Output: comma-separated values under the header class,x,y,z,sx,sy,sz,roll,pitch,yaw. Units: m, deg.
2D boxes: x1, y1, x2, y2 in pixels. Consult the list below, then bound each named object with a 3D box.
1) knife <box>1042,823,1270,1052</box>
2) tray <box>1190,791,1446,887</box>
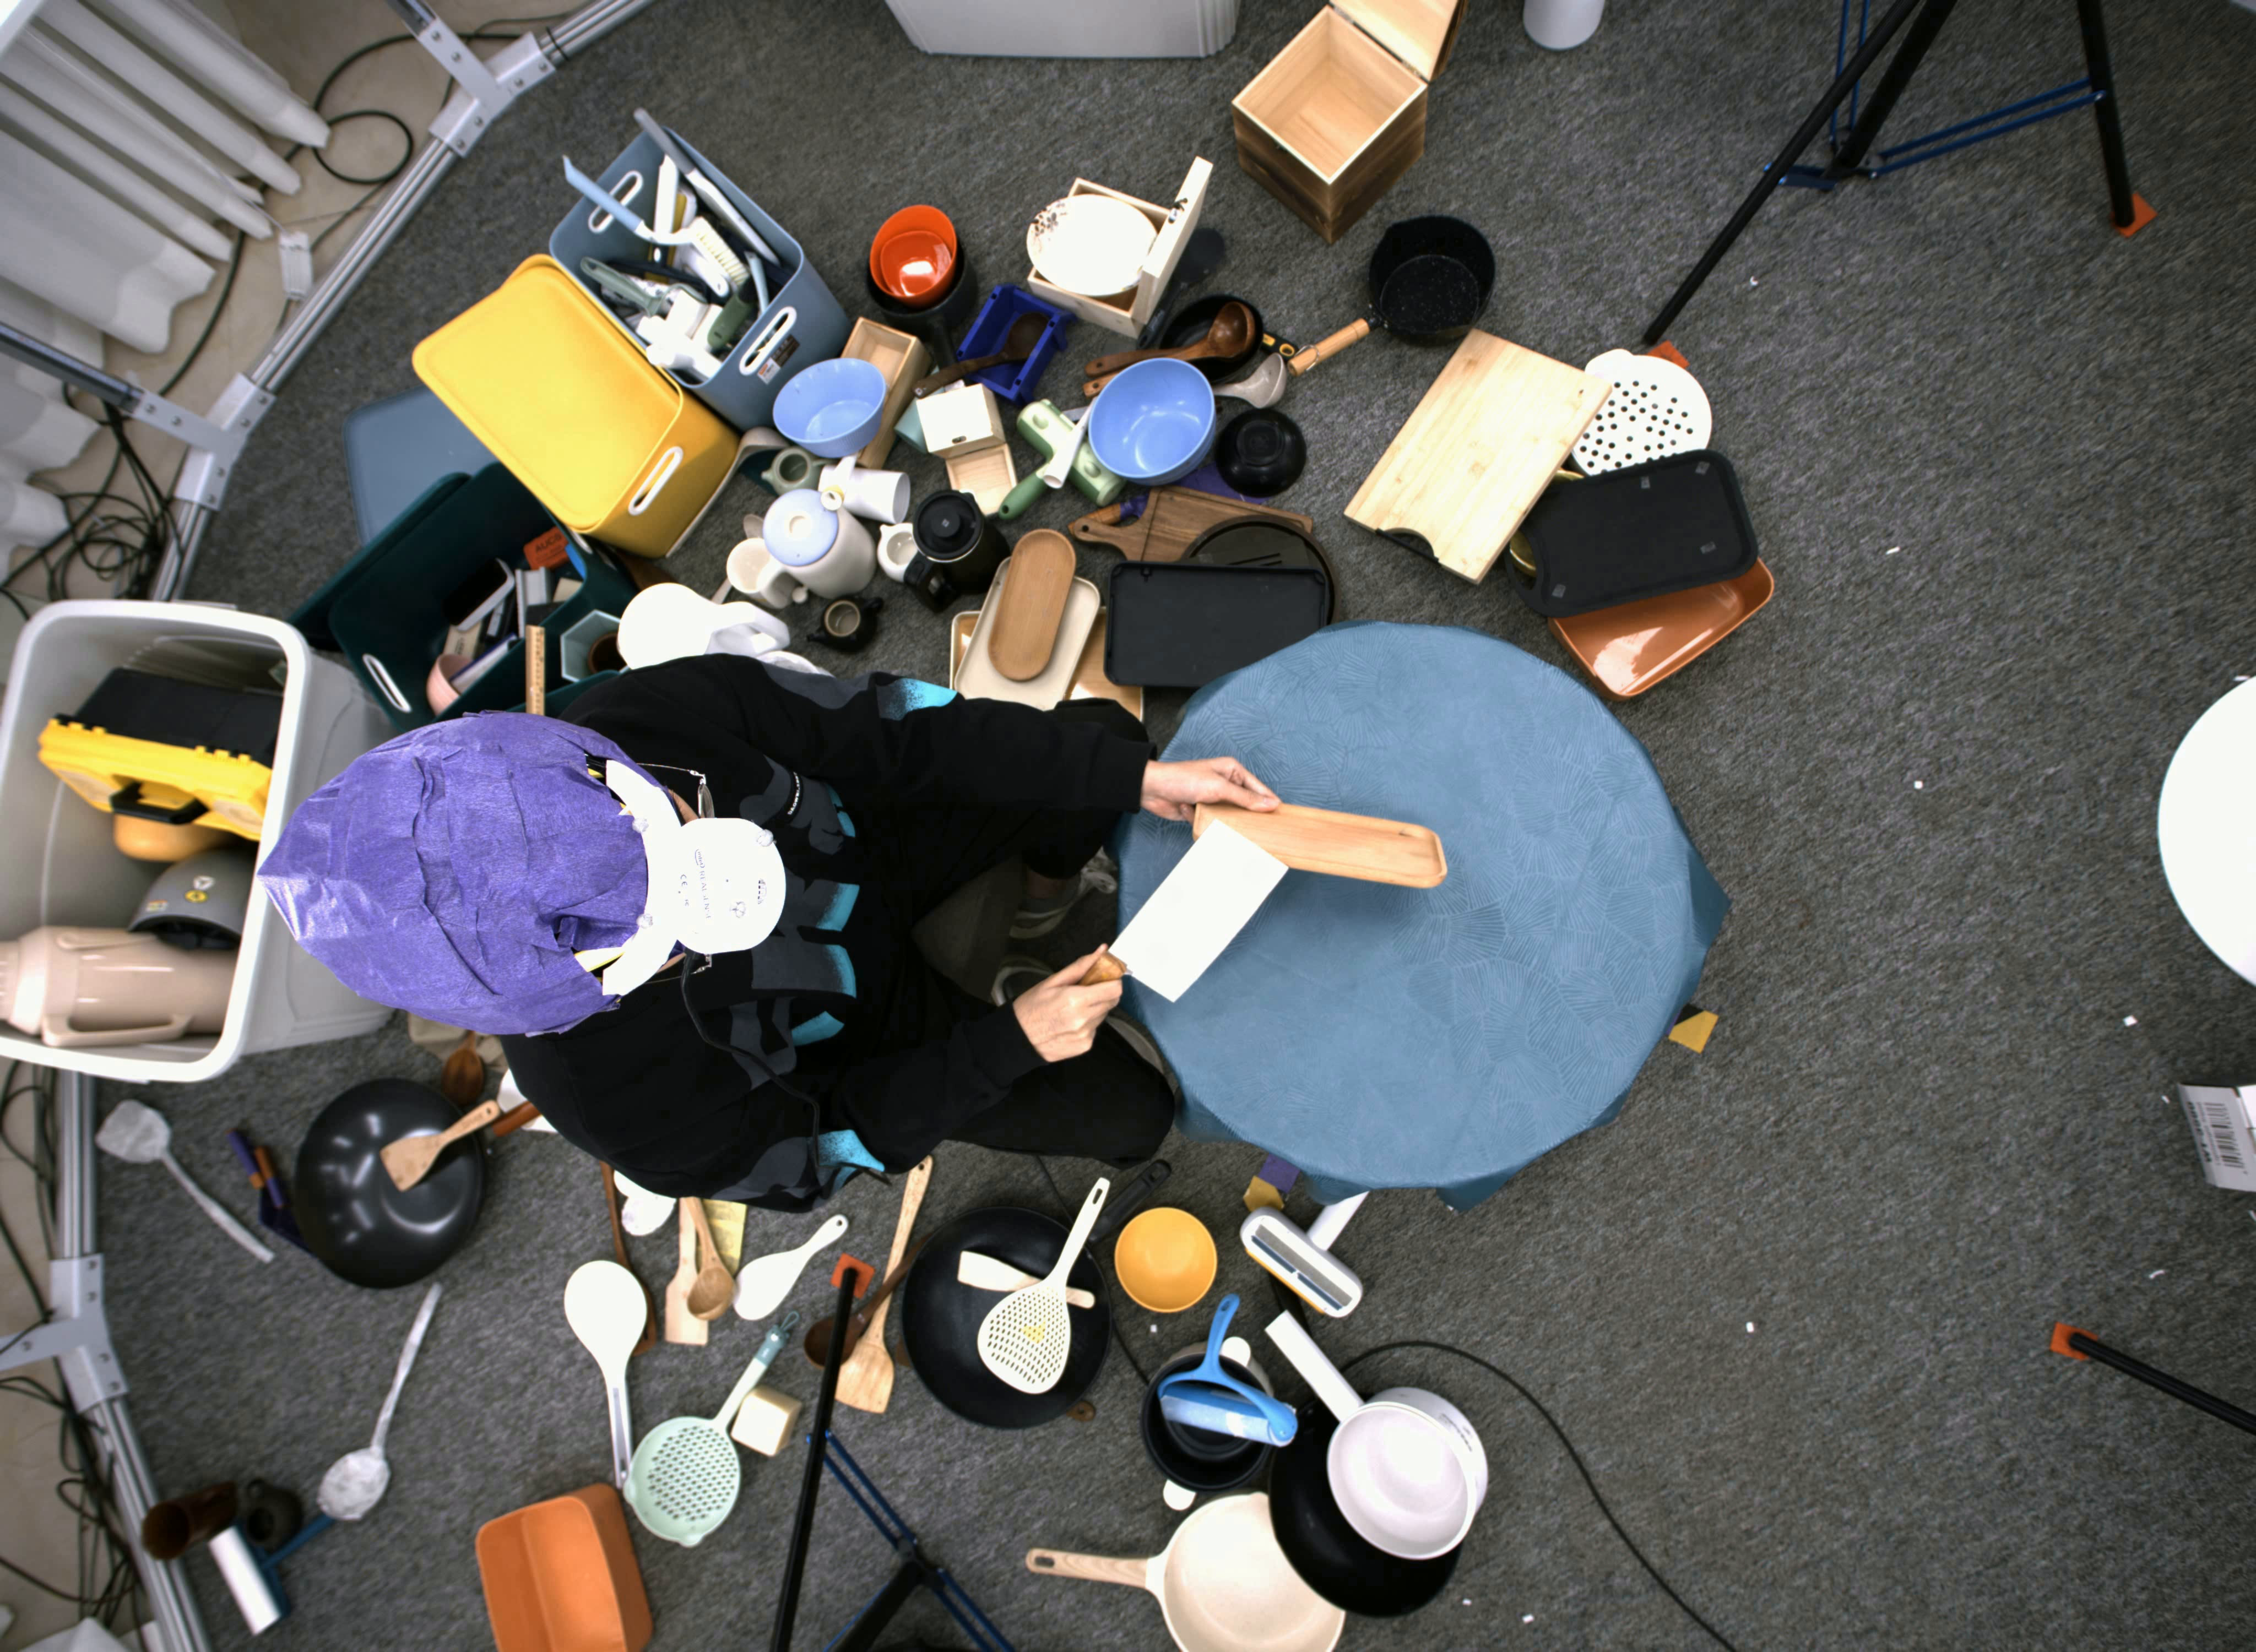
class,x,y,z,sx,sy,sz,roll,pitch,yaw
knife,0.029,0.126,1.375,0.093,0.020,0.311,31,115,-15
tray,0.188,0.011,1.375,0.251,0.128,0.023,8,114,5
